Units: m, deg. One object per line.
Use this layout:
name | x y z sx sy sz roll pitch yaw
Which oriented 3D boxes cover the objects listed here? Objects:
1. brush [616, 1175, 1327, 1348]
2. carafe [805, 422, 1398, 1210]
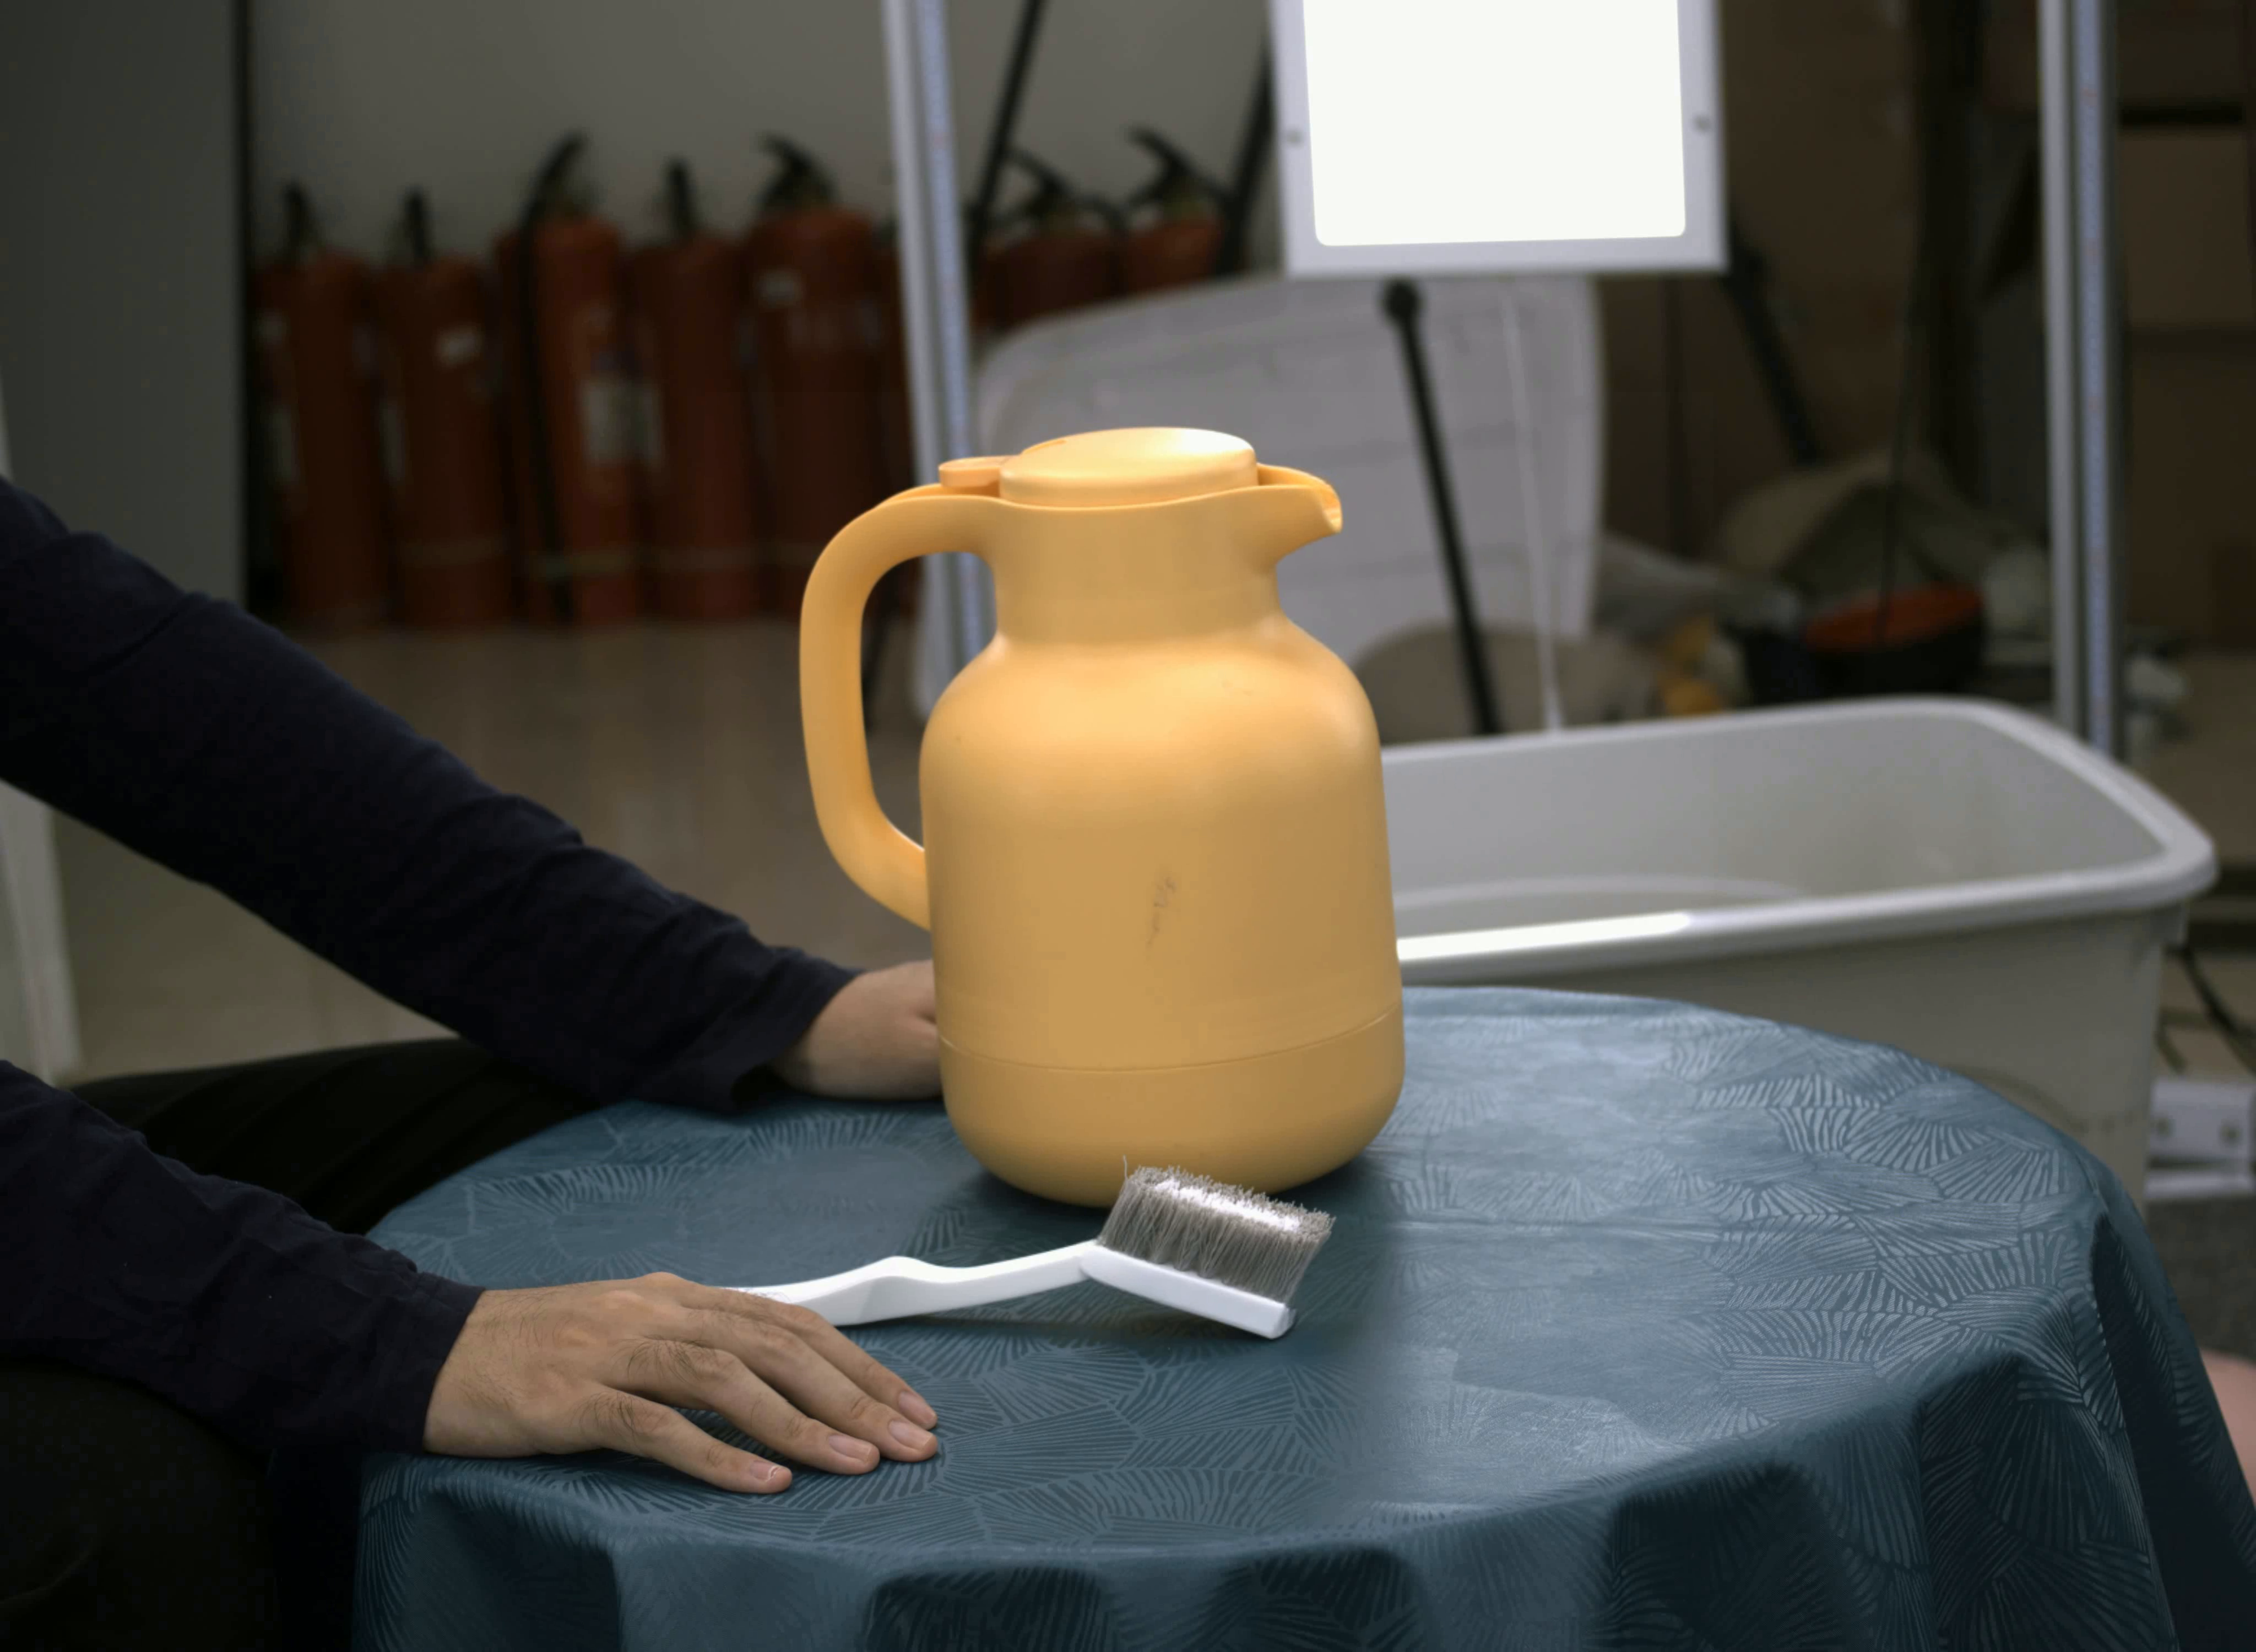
brush | -0.054 0.137 1.776 0.247 0.050 0.034 0 19 21
carafe | -0.010 -0.007 1.901 0.205 0.261 0.161 1 12 19
